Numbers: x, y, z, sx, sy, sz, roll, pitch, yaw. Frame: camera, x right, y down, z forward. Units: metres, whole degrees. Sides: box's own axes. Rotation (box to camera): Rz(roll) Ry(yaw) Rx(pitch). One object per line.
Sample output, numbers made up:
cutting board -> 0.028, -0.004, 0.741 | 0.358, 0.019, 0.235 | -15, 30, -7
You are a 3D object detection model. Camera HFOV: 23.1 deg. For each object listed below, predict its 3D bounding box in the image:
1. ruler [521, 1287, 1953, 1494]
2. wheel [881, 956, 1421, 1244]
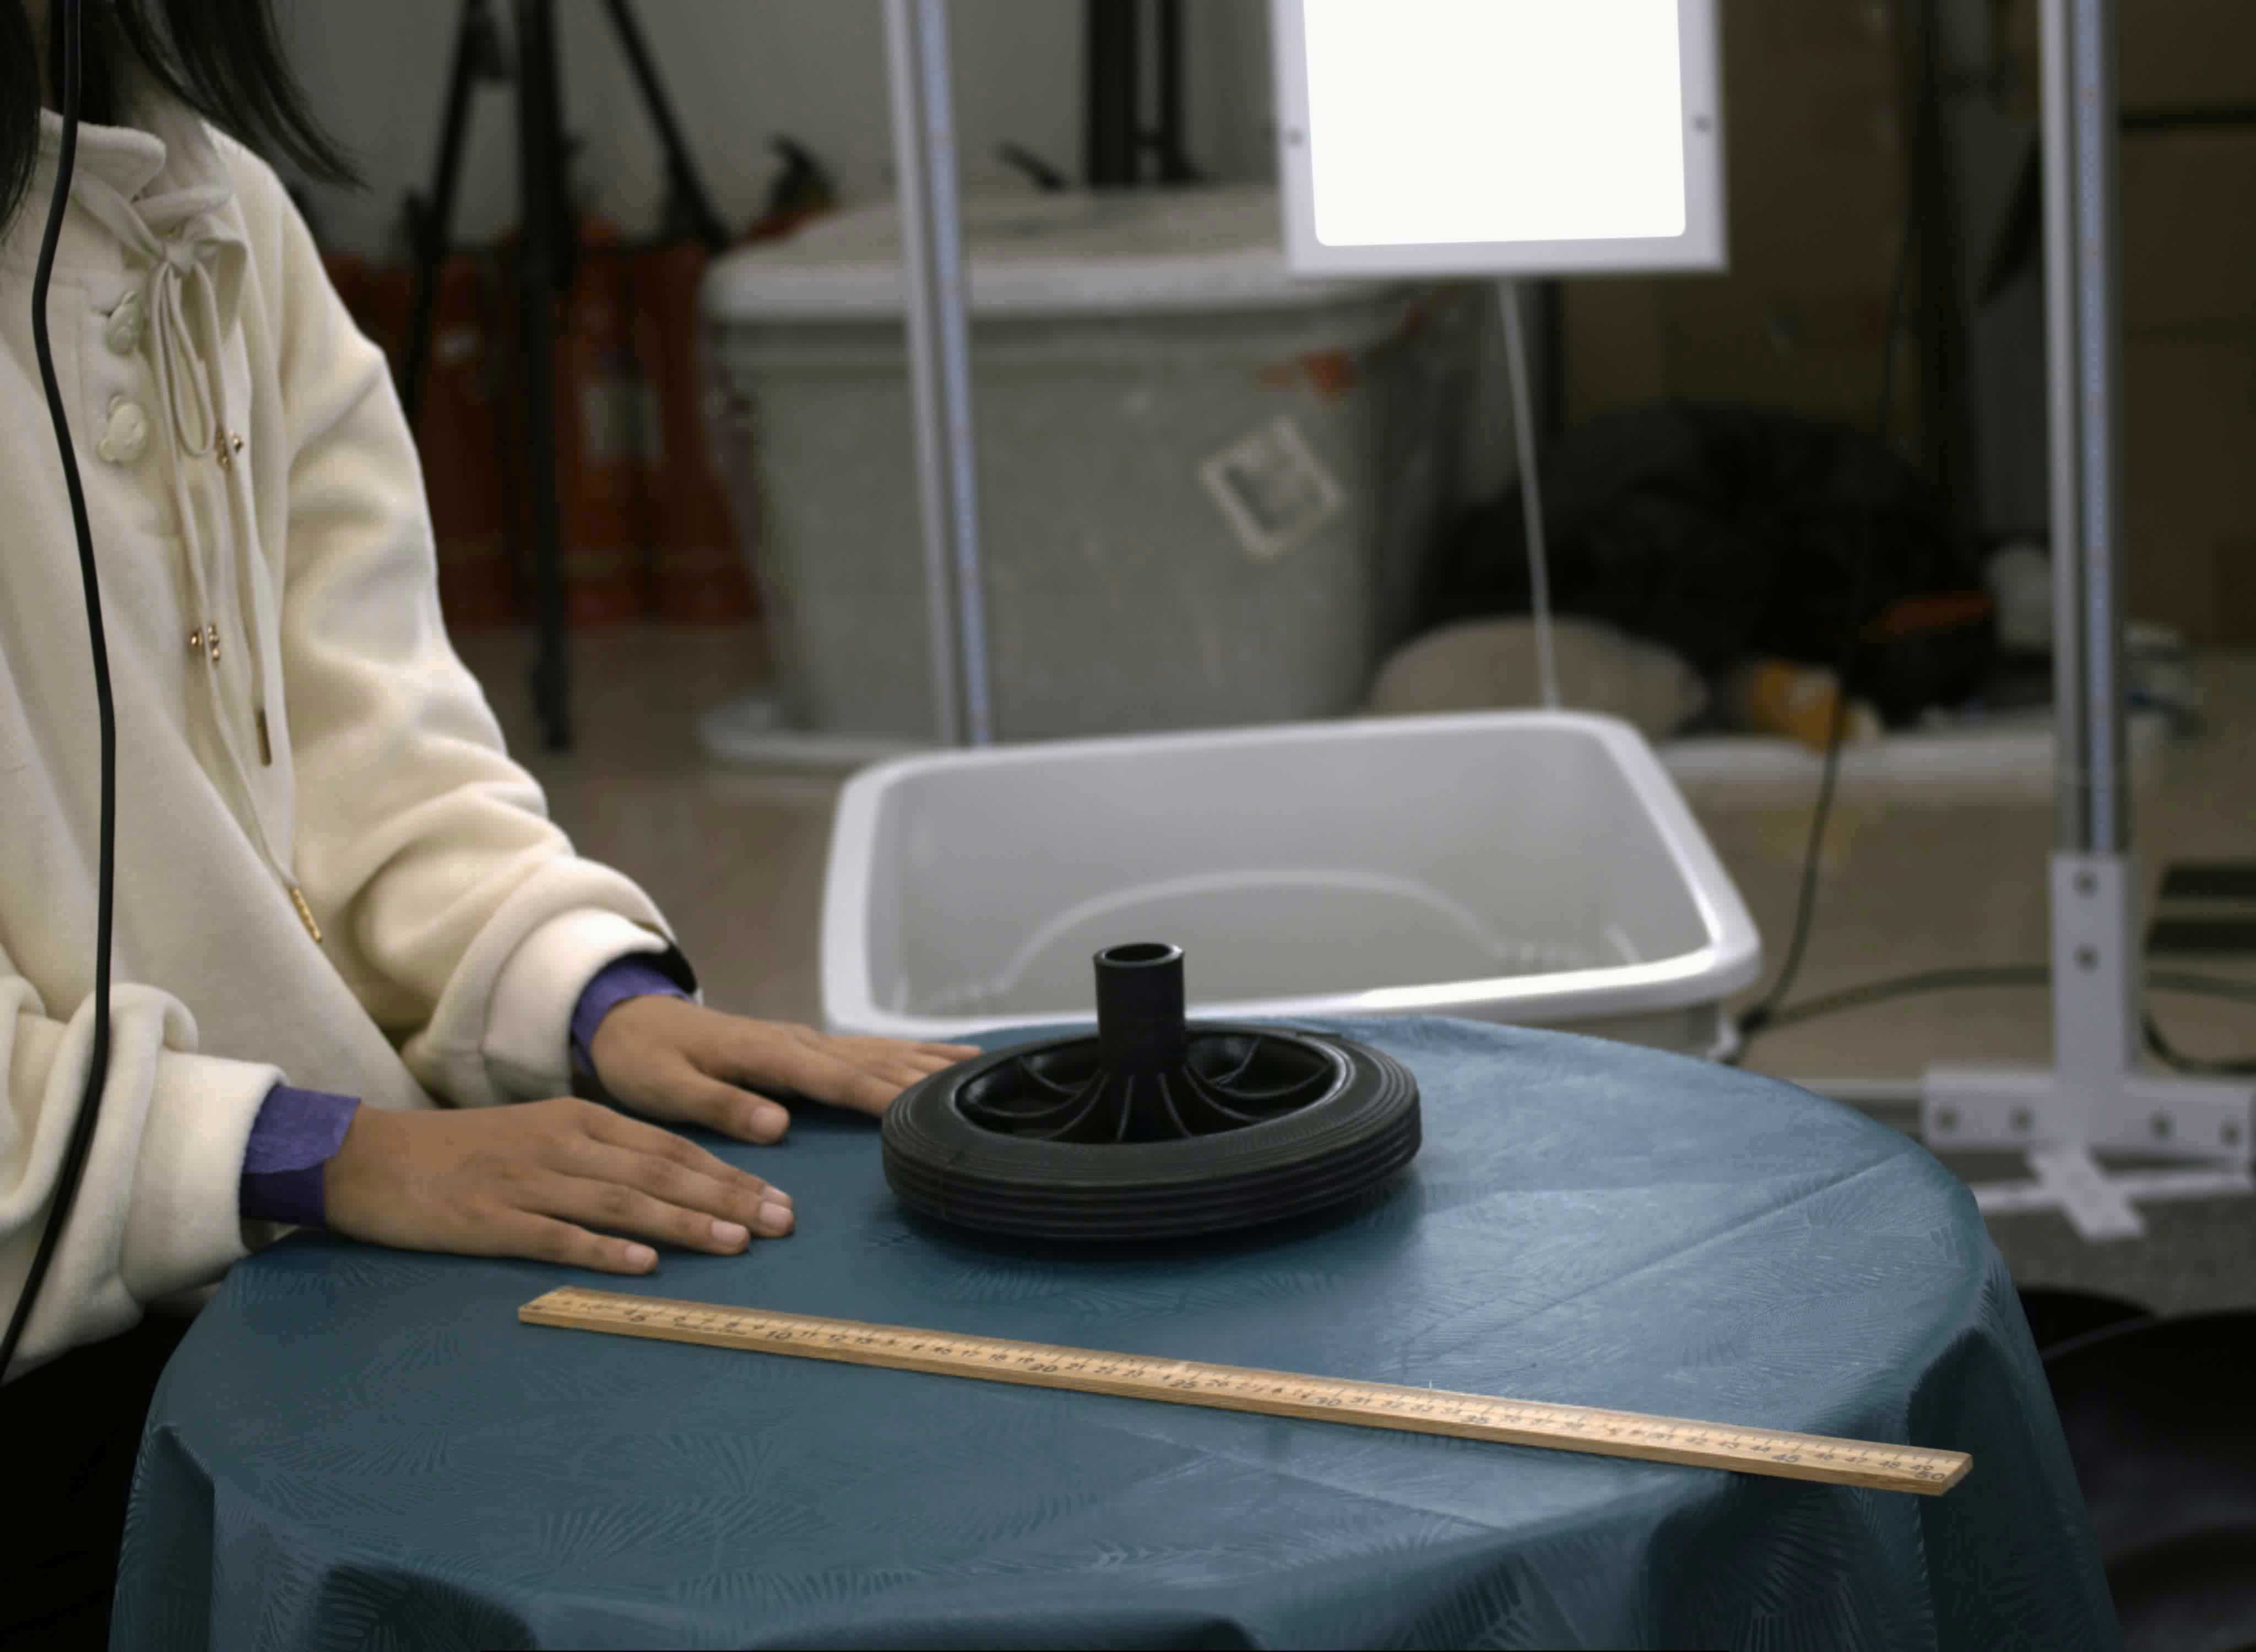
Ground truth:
ruler -> 0.020, 0.172, 1.696 | 0.510, 0.006, 0.026 | 4, 17, 32
wheel -> 0.006, 0.087, 1.899 | 0.186, 0.079, 0.190 | -6, 13, -2
